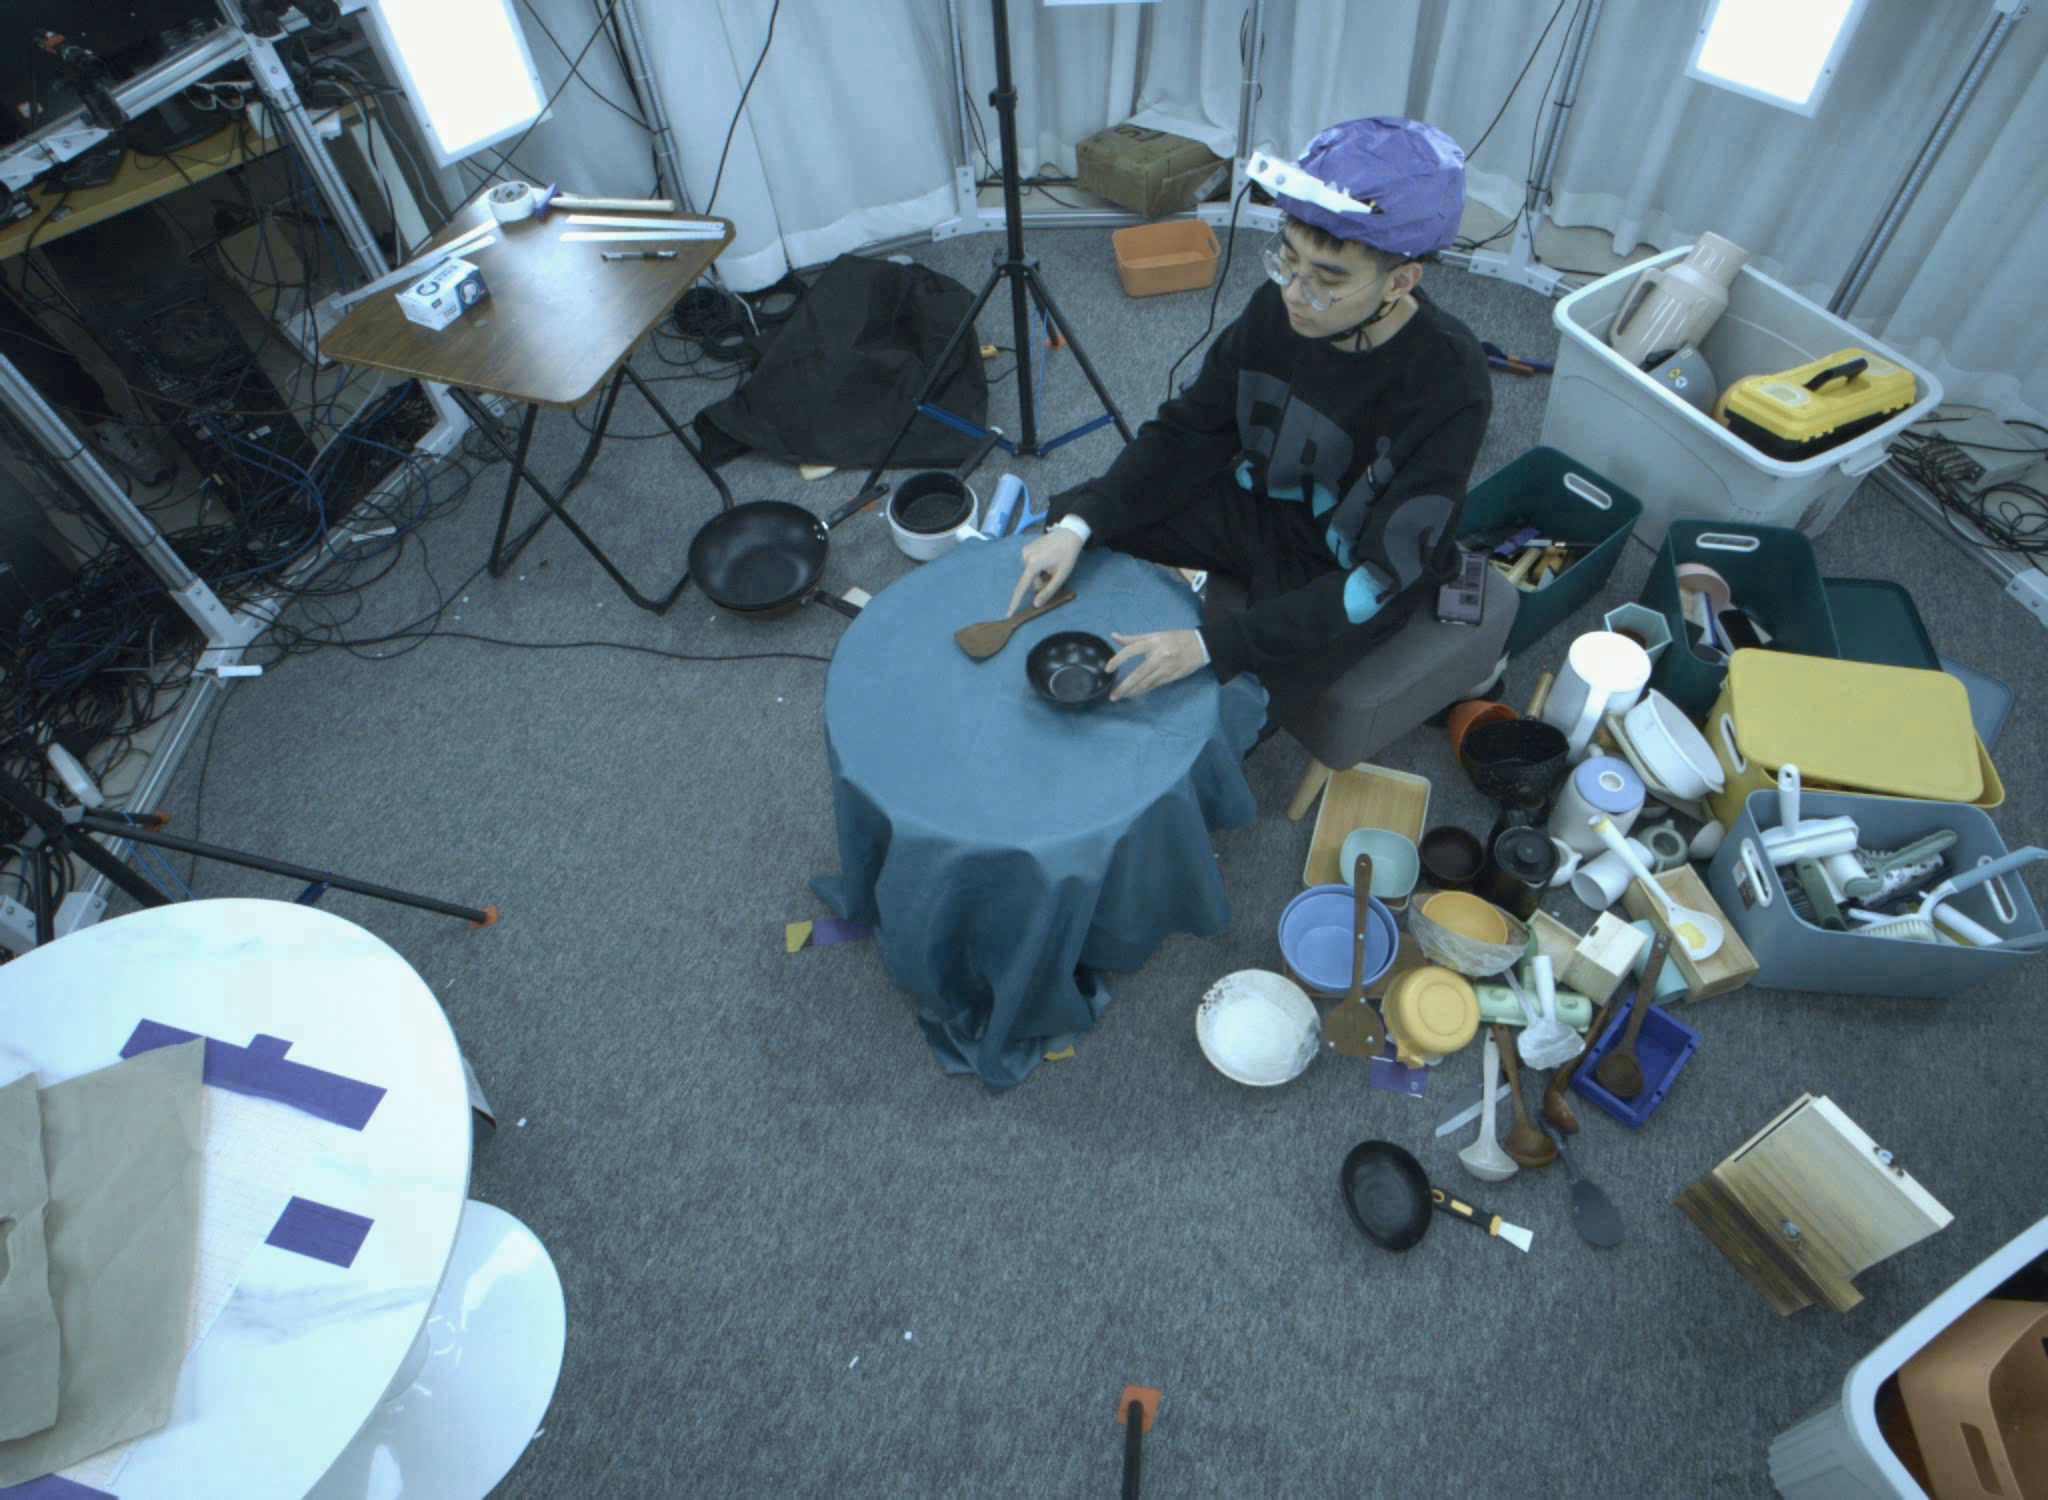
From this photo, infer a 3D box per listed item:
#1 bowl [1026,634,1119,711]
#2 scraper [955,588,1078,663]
[{"bbox_3d":[0.074,-0.107,1.840,0.140,0.050,0.138,-2,53,4],"label":"bowl"},{"bbox_3d":[-0.006,-0.202,1.935,0.213,0.011,0.074,-30,60,-19],"label":"scraper"}]
